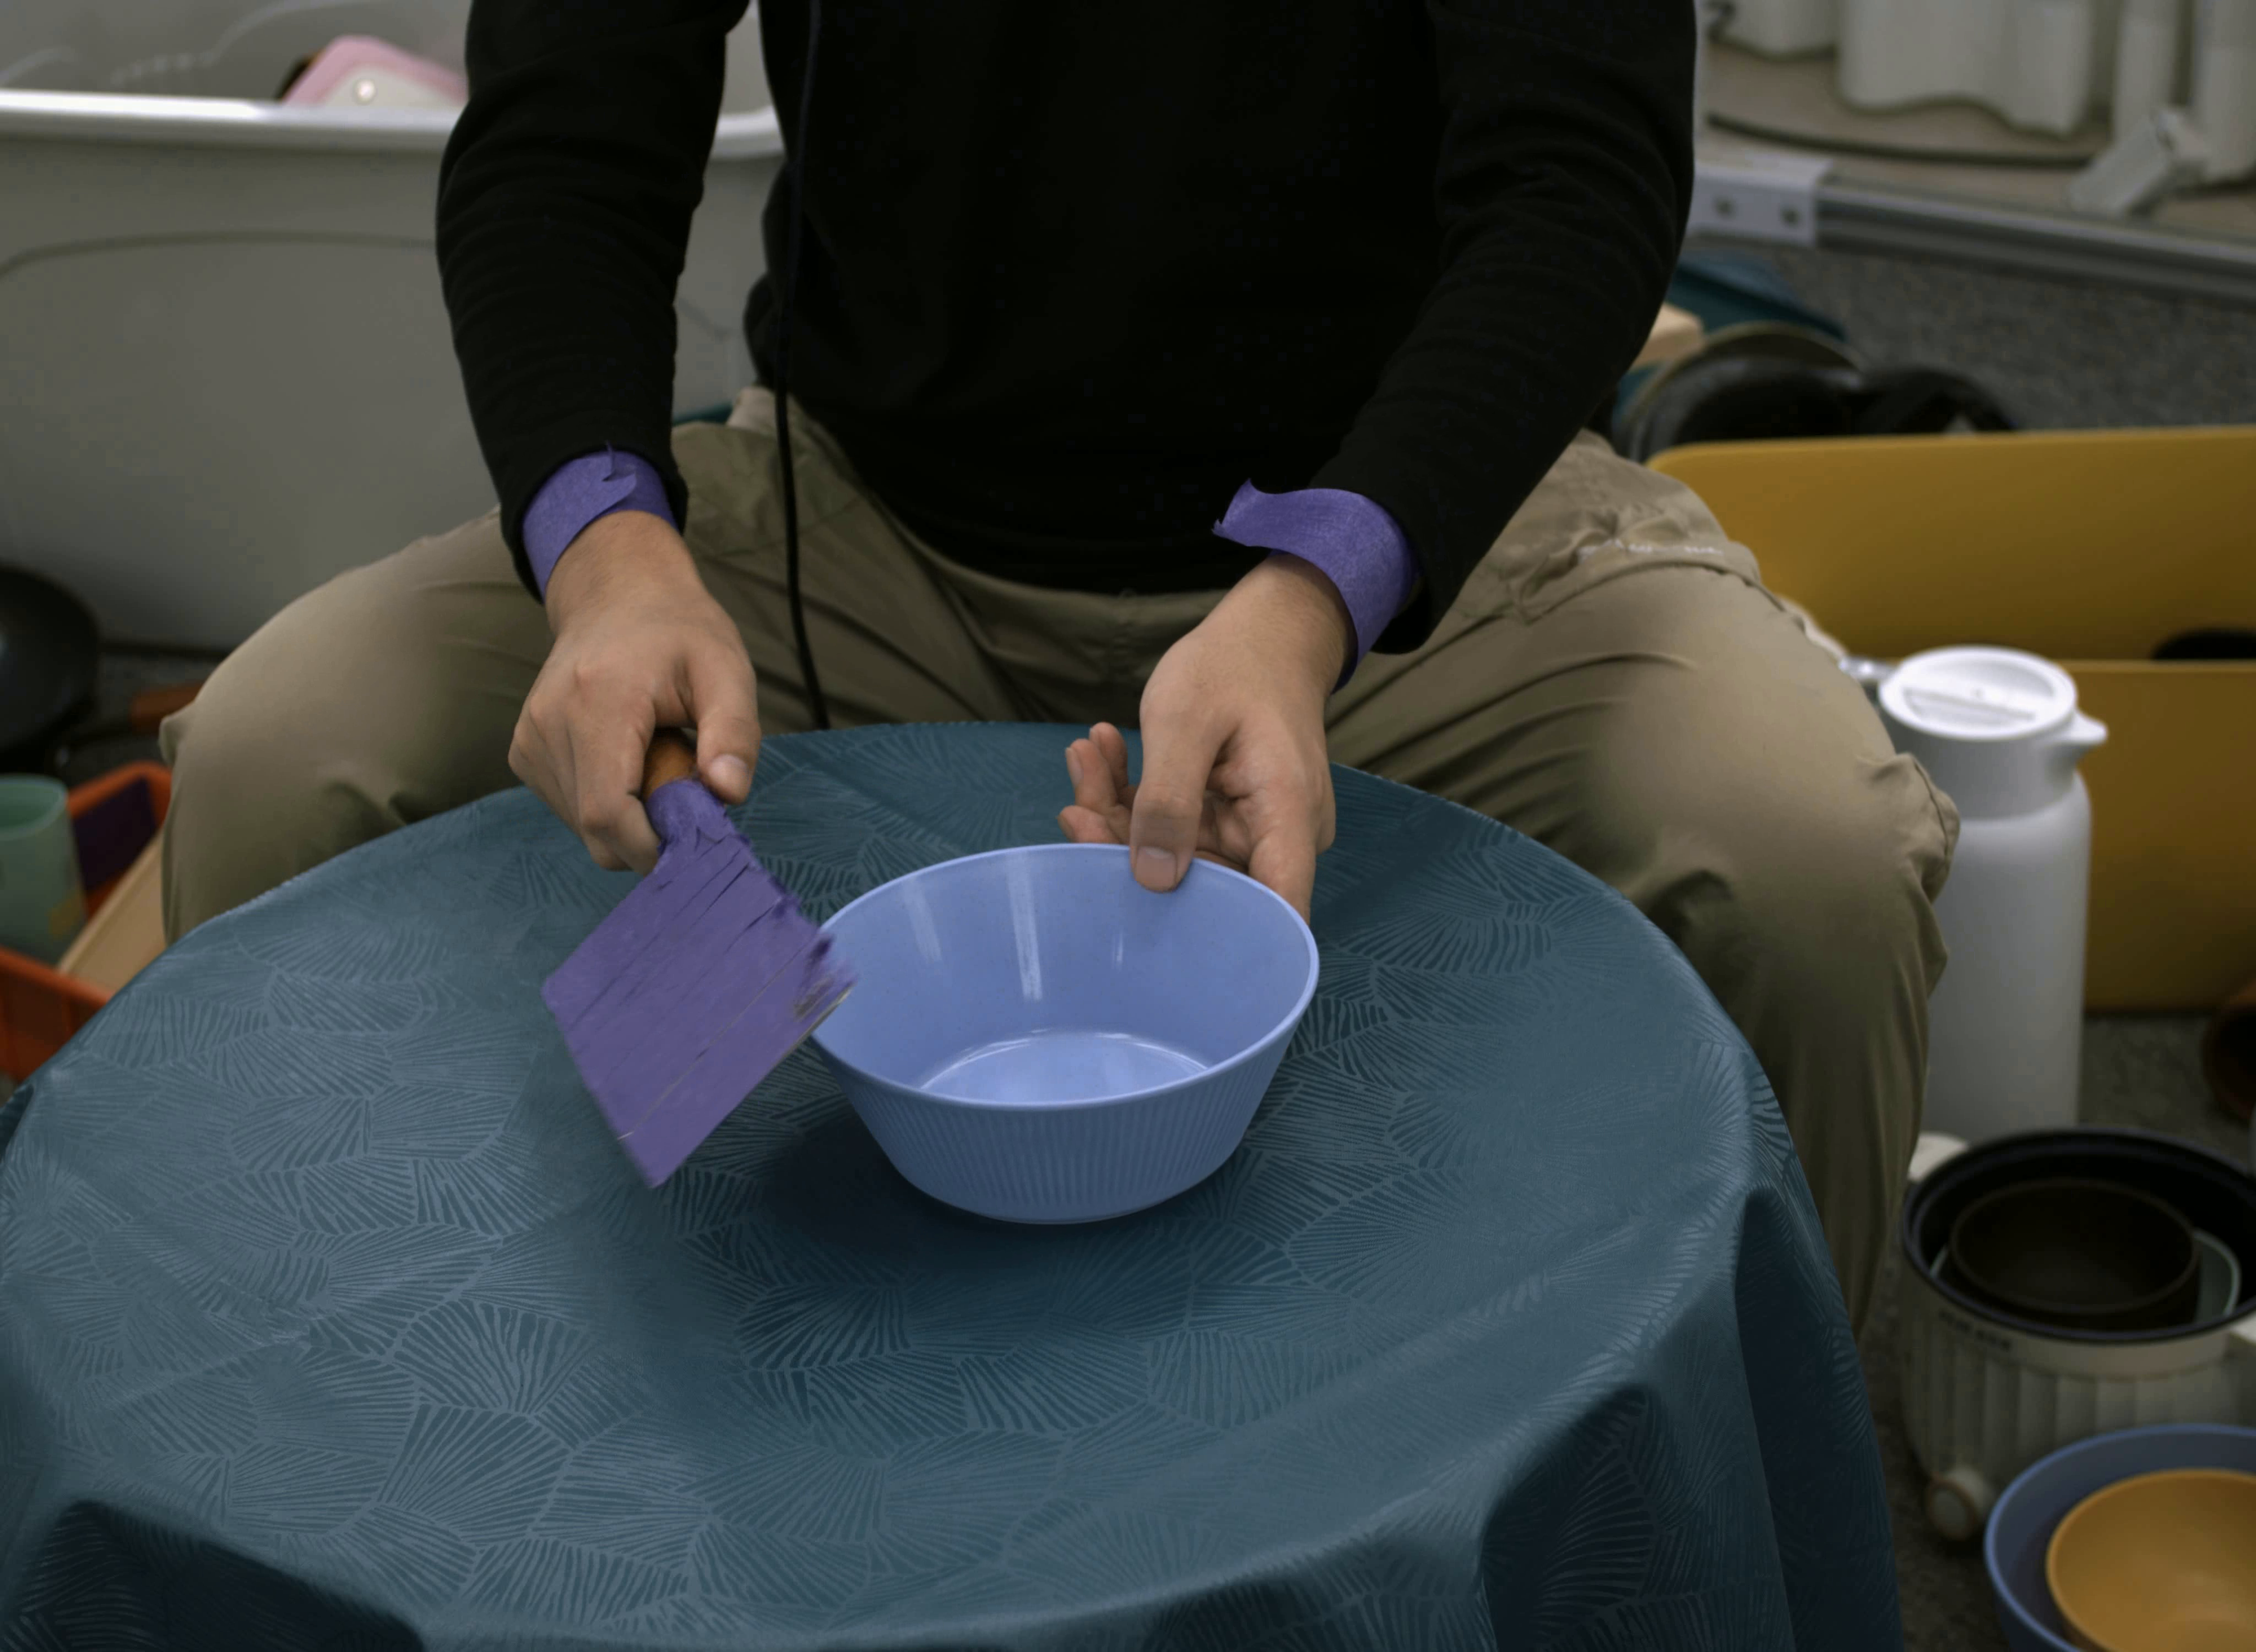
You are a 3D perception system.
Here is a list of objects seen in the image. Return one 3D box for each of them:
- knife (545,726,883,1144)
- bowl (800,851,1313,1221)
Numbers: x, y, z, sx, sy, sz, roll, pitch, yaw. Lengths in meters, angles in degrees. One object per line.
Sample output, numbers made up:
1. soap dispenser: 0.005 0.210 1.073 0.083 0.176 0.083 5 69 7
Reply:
1. knife: -0.156 0.033 1.885 0.104 0.032 0.316 -46 20 -2
2. bowl: -0.025 0.076 1.873 0.175 0.069 0.178 -1 26 1
